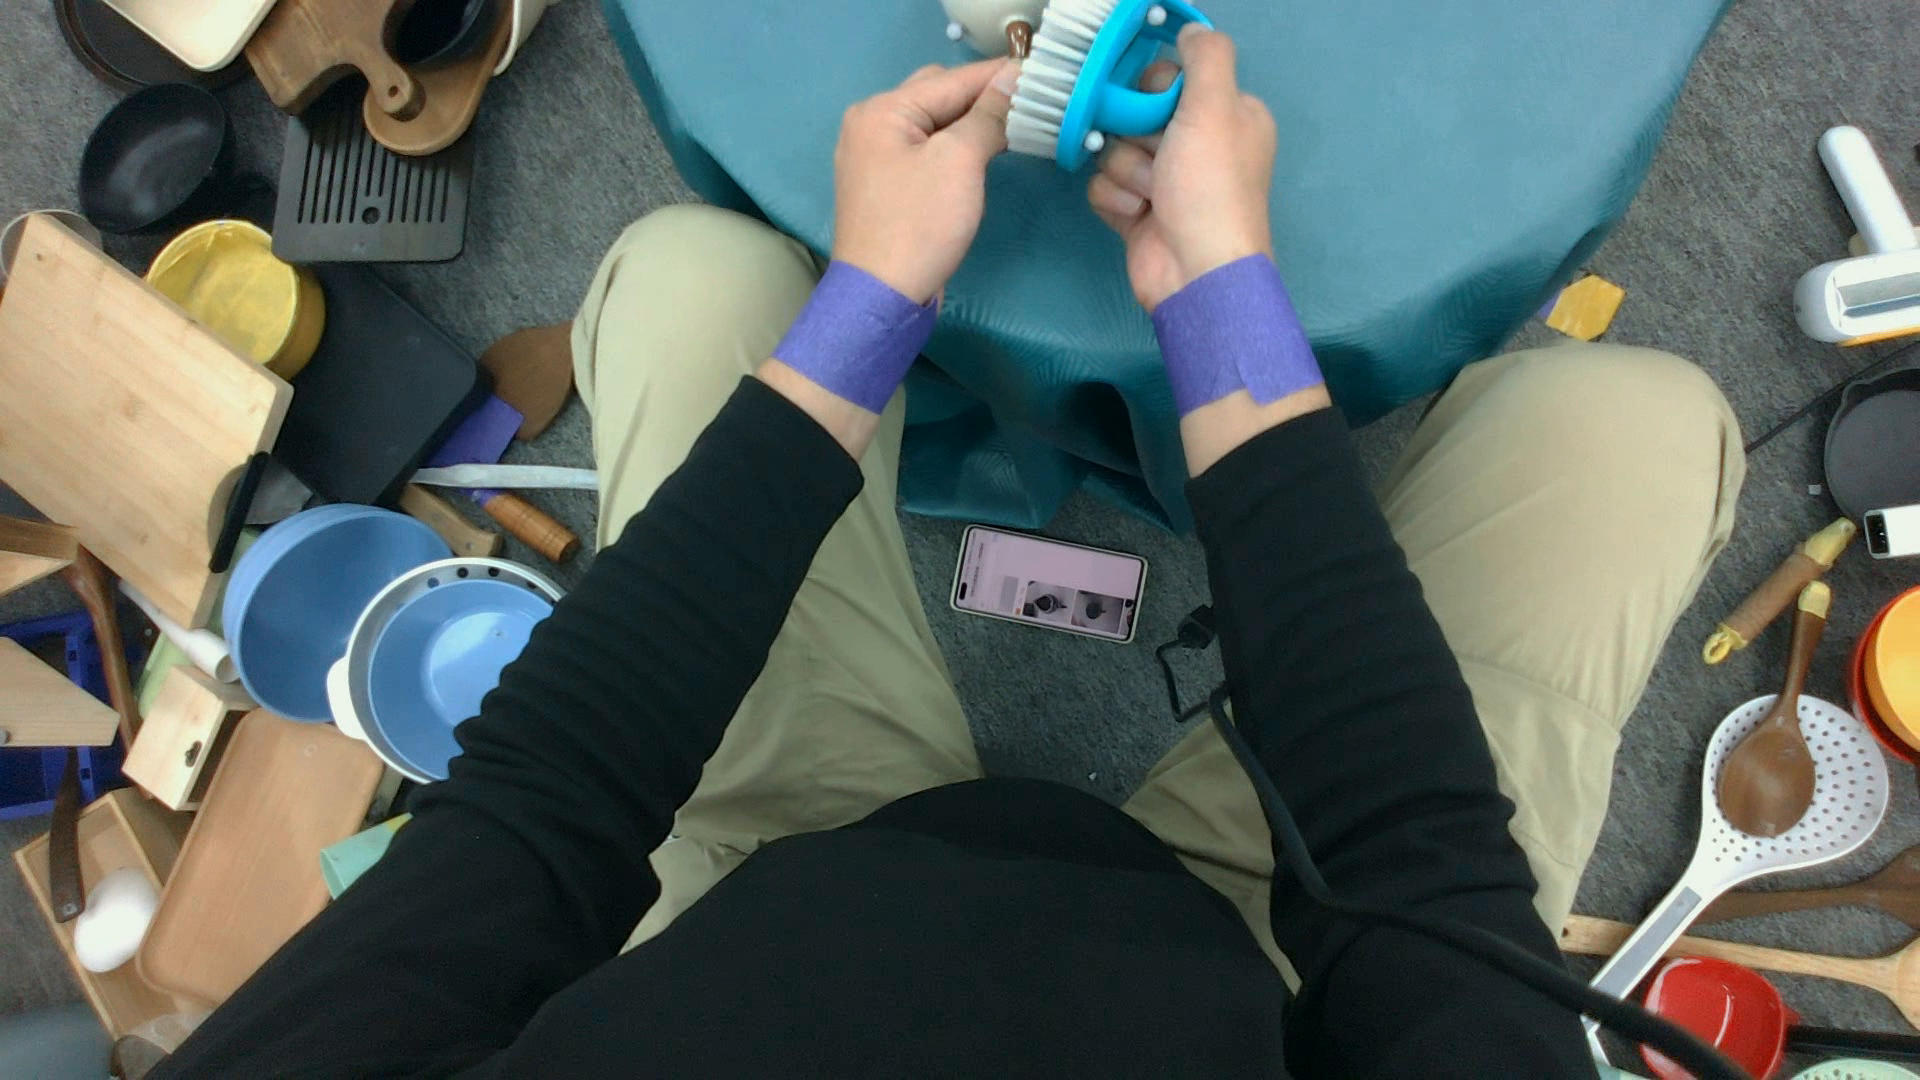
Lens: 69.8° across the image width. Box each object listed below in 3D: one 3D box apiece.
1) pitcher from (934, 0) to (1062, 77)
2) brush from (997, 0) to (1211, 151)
[{"bbox_3d":[0.018,-0.270,0.650,0.076,0.088,0.119,0,83,9],"label":"pitcher"},{"bbox_3d":[0.074,-0.225,0.621,0.064,0.084,0.142,29,49,6],"label":"brush"}]
